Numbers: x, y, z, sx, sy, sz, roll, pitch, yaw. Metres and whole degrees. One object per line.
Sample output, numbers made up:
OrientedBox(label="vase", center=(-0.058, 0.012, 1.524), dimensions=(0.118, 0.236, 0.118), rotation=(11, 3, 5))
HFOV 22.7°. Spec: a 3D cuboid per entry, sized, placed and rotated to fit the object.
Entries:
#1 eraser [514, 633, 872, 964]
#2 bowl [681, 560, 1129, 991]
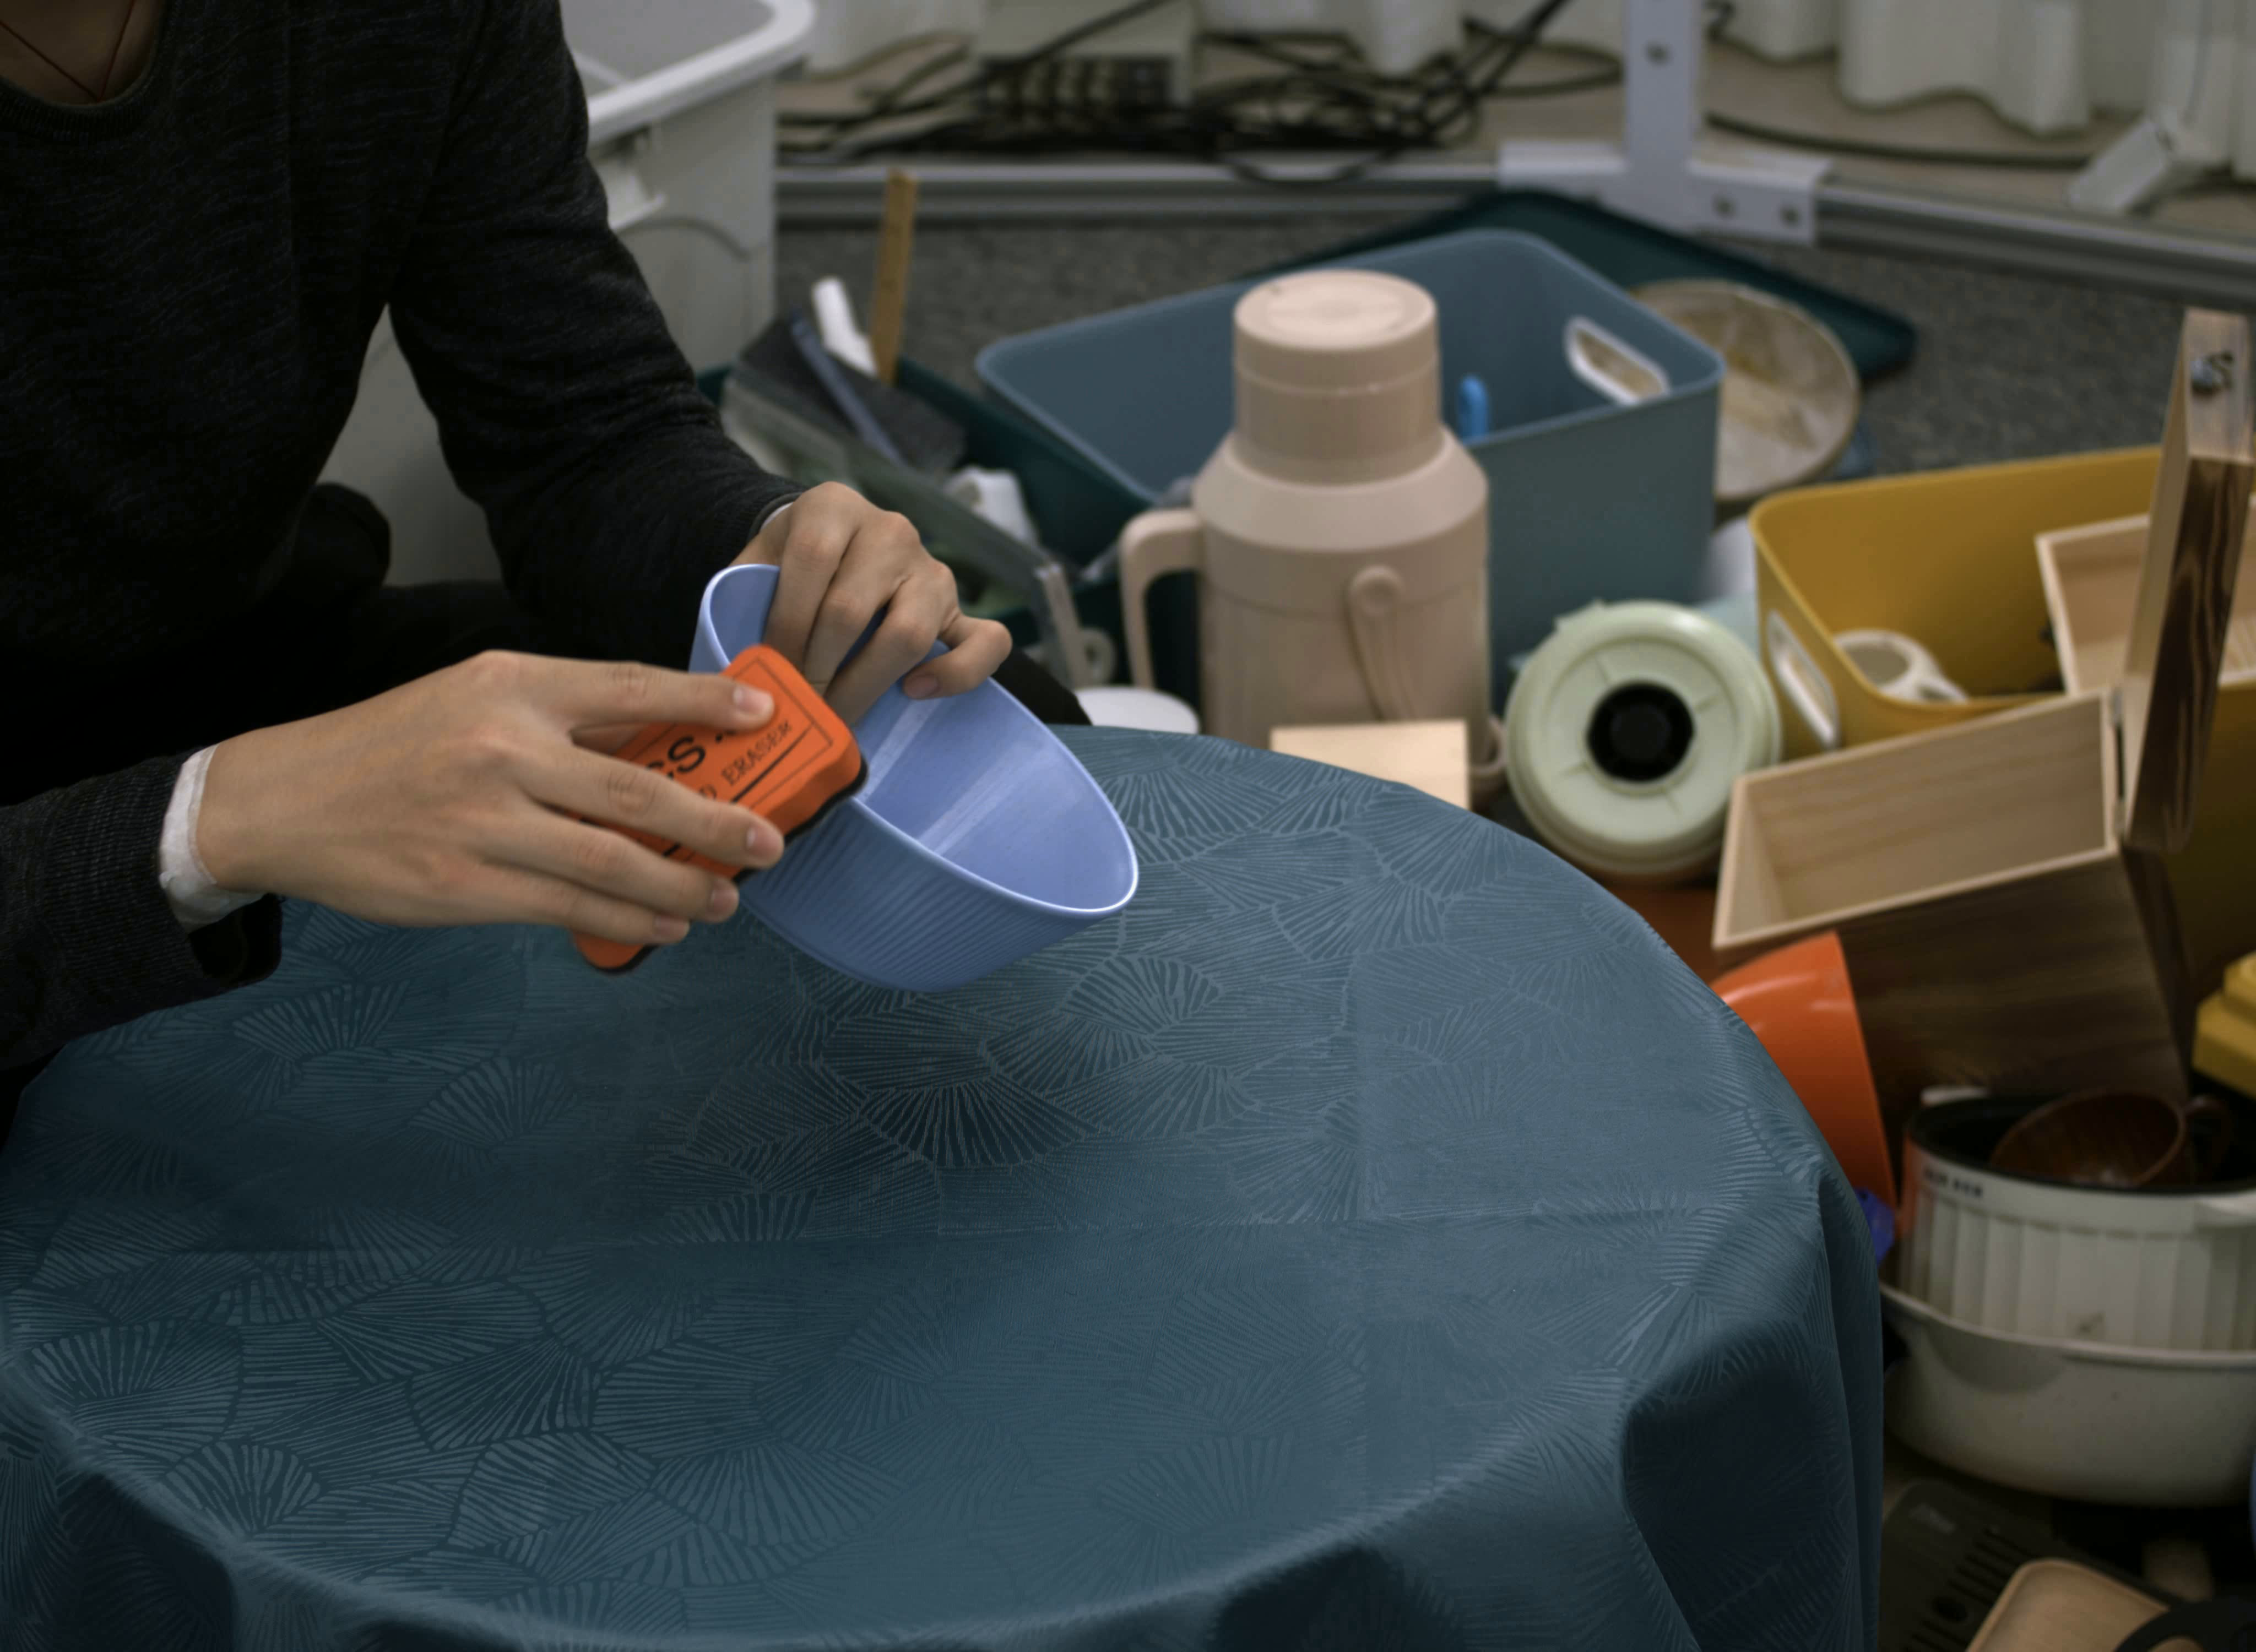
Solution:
OrientedBox(label="eraser", center=(-0.137, -0.009, 1.771), dimensions=(0.108, 0.022, 0.059), rotation=(-39, 56, -6))
OrientedBox(label="bowl", center=(-0.088, -0.007, 1.879), dimensions=(0.175, 0.069, 0.178), rotation=(34, 19, -13))
